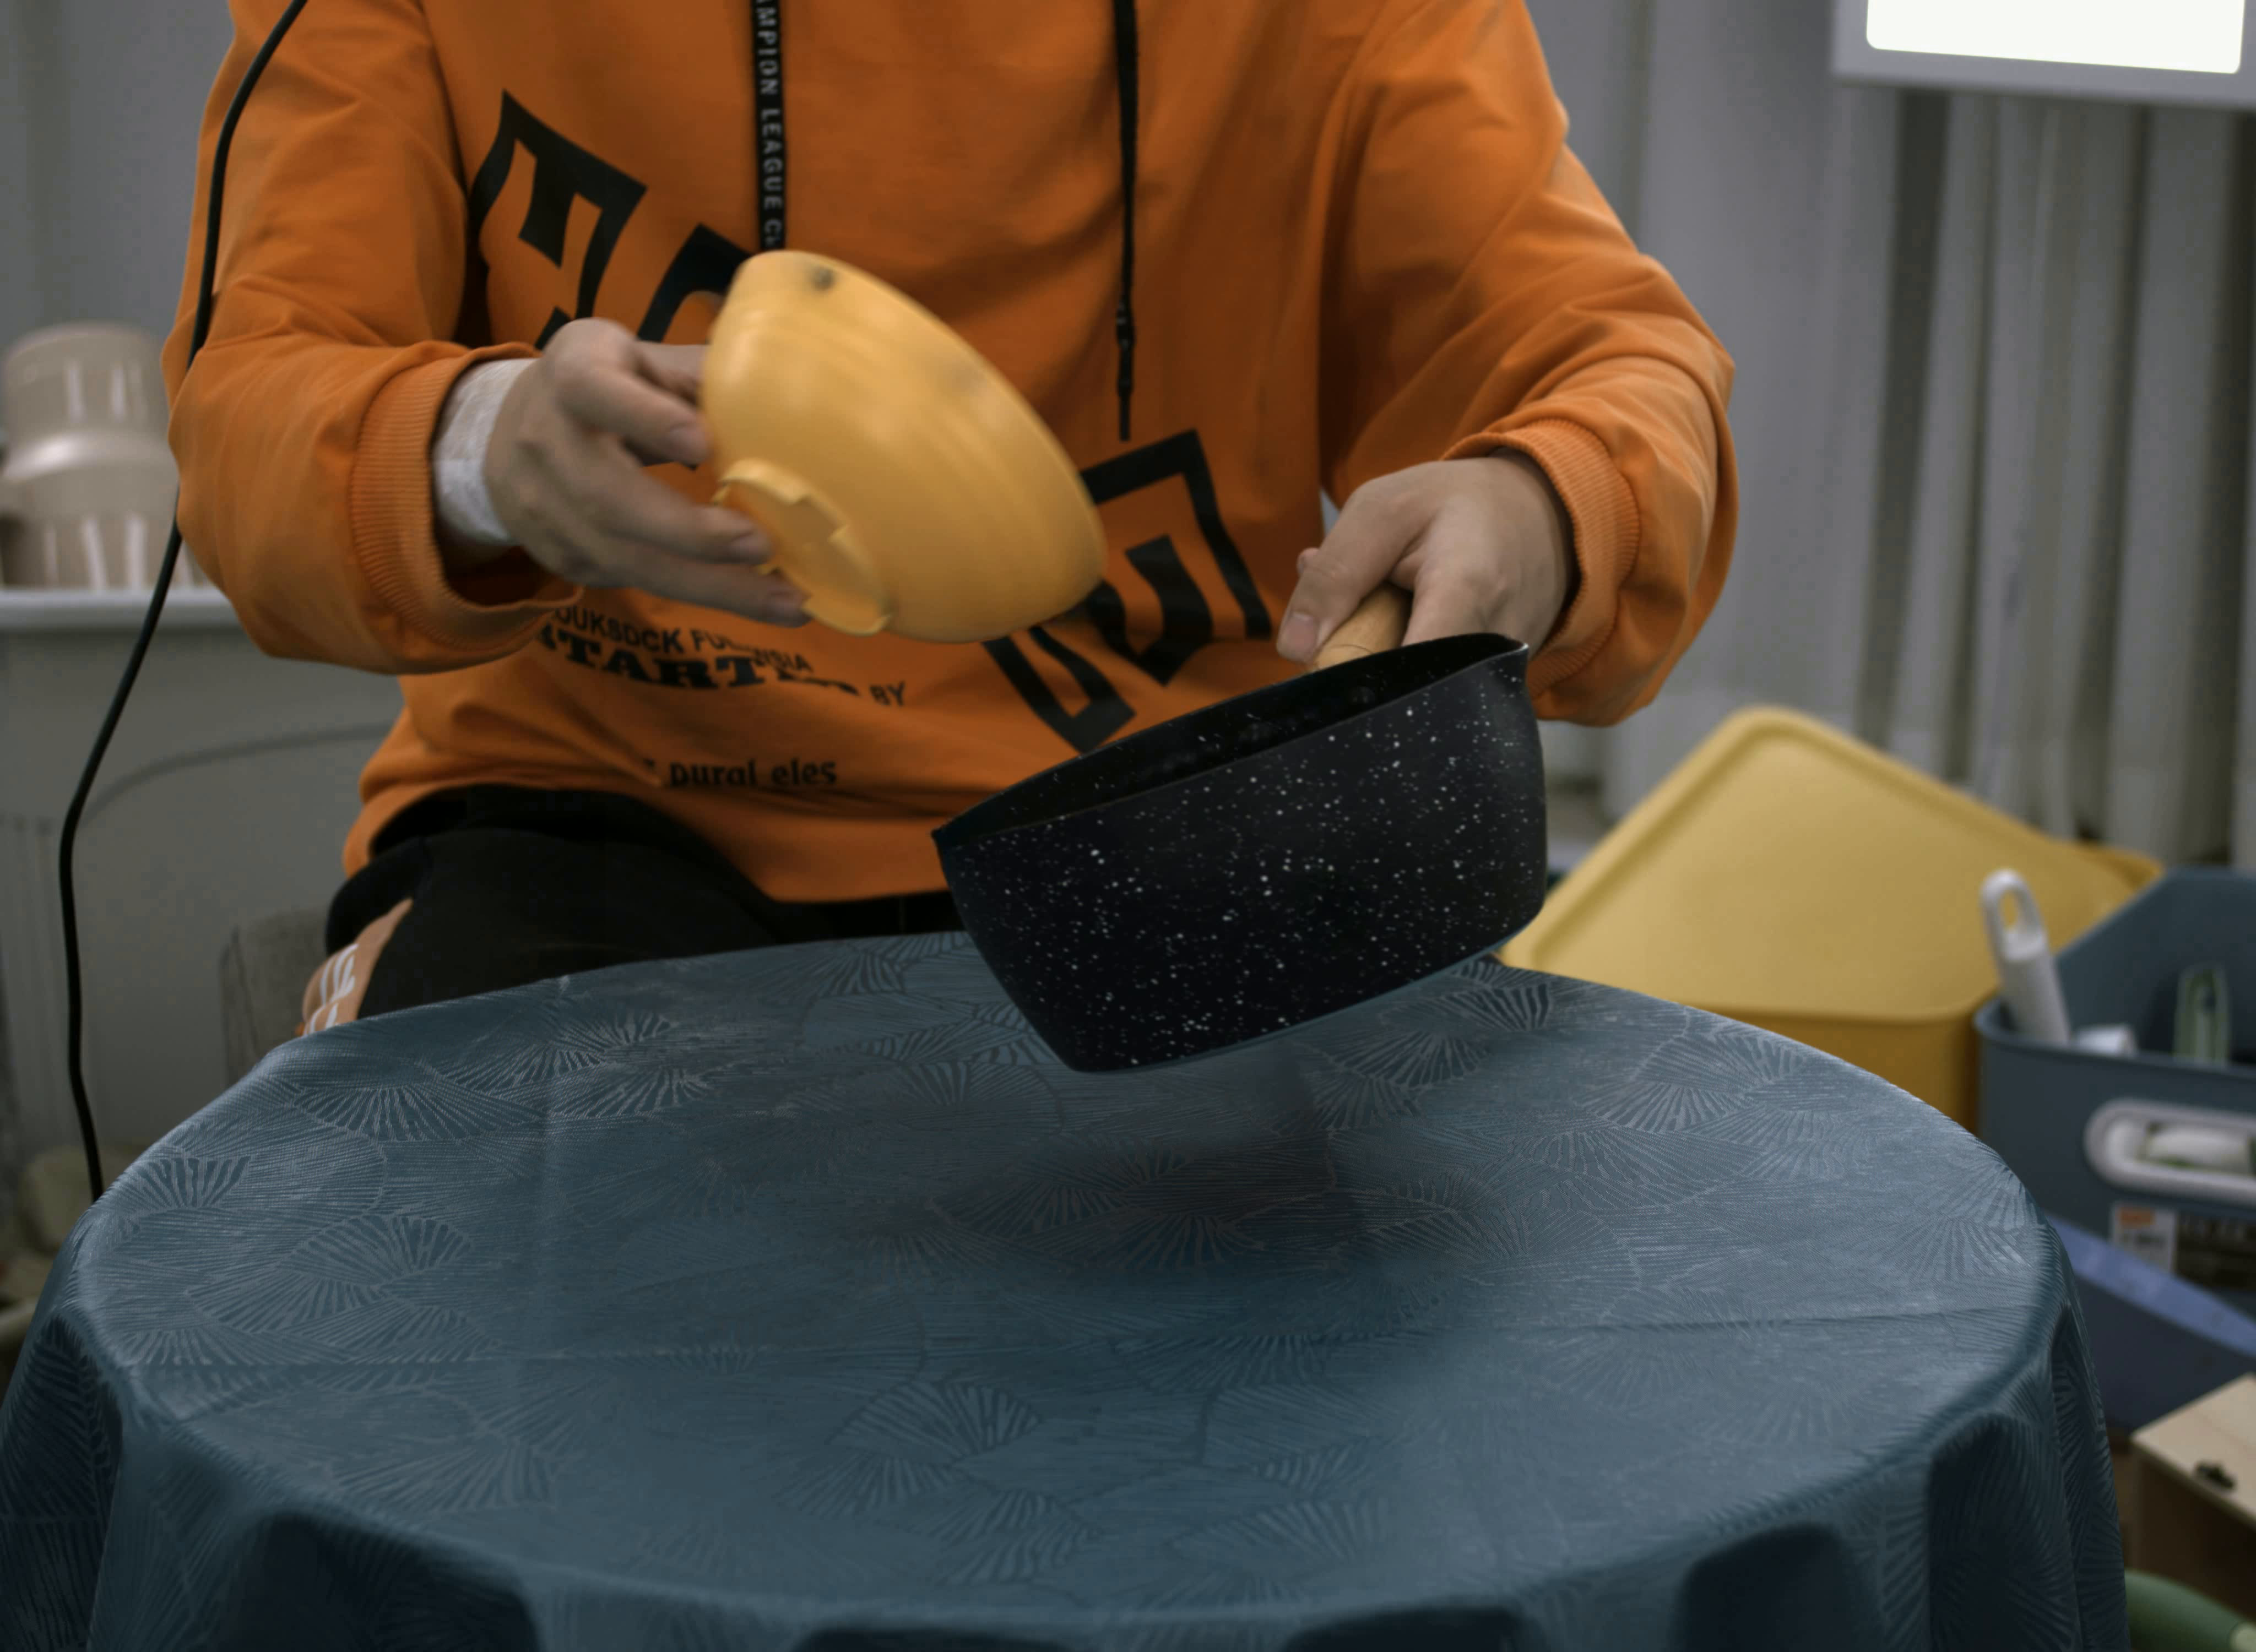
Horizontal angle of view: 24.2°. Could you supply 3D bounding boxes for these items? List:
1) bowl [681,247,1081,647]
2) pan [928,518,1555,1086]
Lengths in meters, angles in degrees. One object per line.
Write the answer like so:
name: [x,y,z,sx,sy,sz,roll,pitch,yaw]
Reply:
bowl: [-0.087,-0.101,1.584,0.143,0.147,0.060,19,60,47]
pan: [0.060,-0.016,1.659,0.206,0.109,0.343,-18,7,19]
